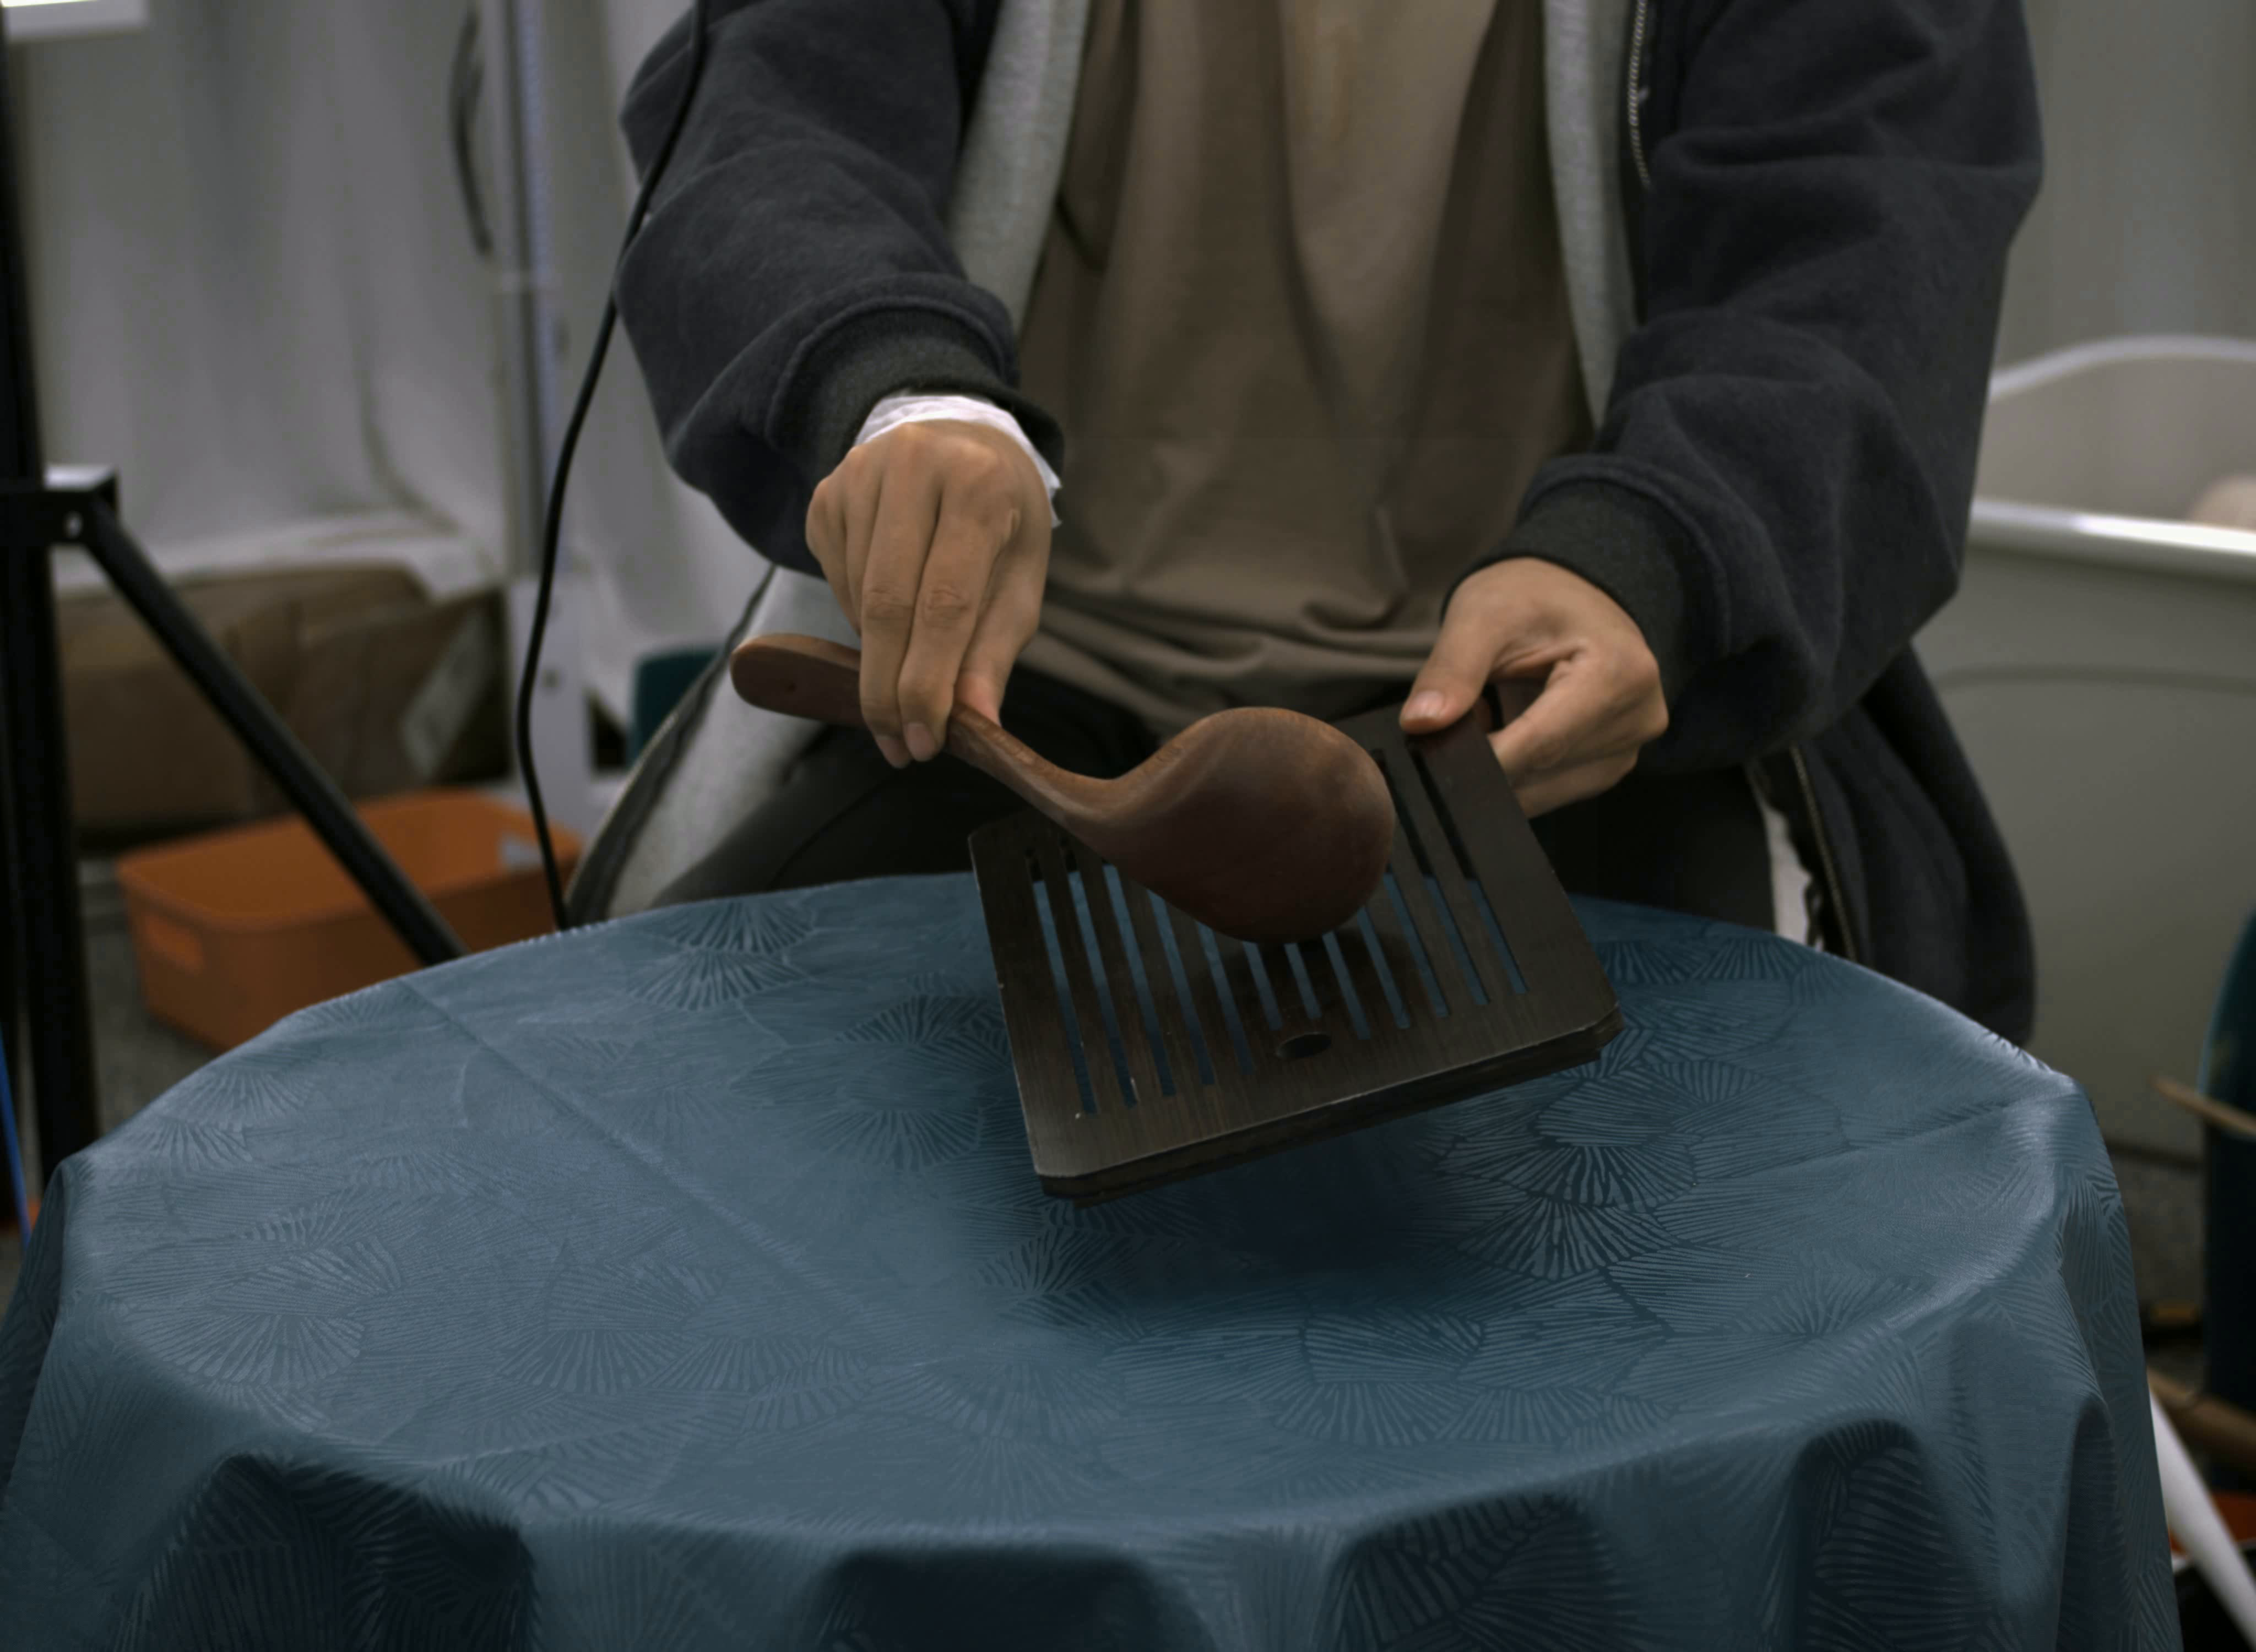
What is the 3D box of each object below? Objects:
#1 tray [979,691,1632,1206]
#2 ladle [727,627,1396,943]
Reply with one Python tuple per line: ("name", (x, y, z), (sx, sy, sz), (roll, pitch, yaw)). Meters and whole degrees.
("tray", (0.046, 0.033, 1.602), (0.169, 0.018, 0.308), (-16, 20, 1))
("ladle", (-0.023, -0.026, 1.631), (0.064, 0.076, 0.266), (-21, 28, -34))
